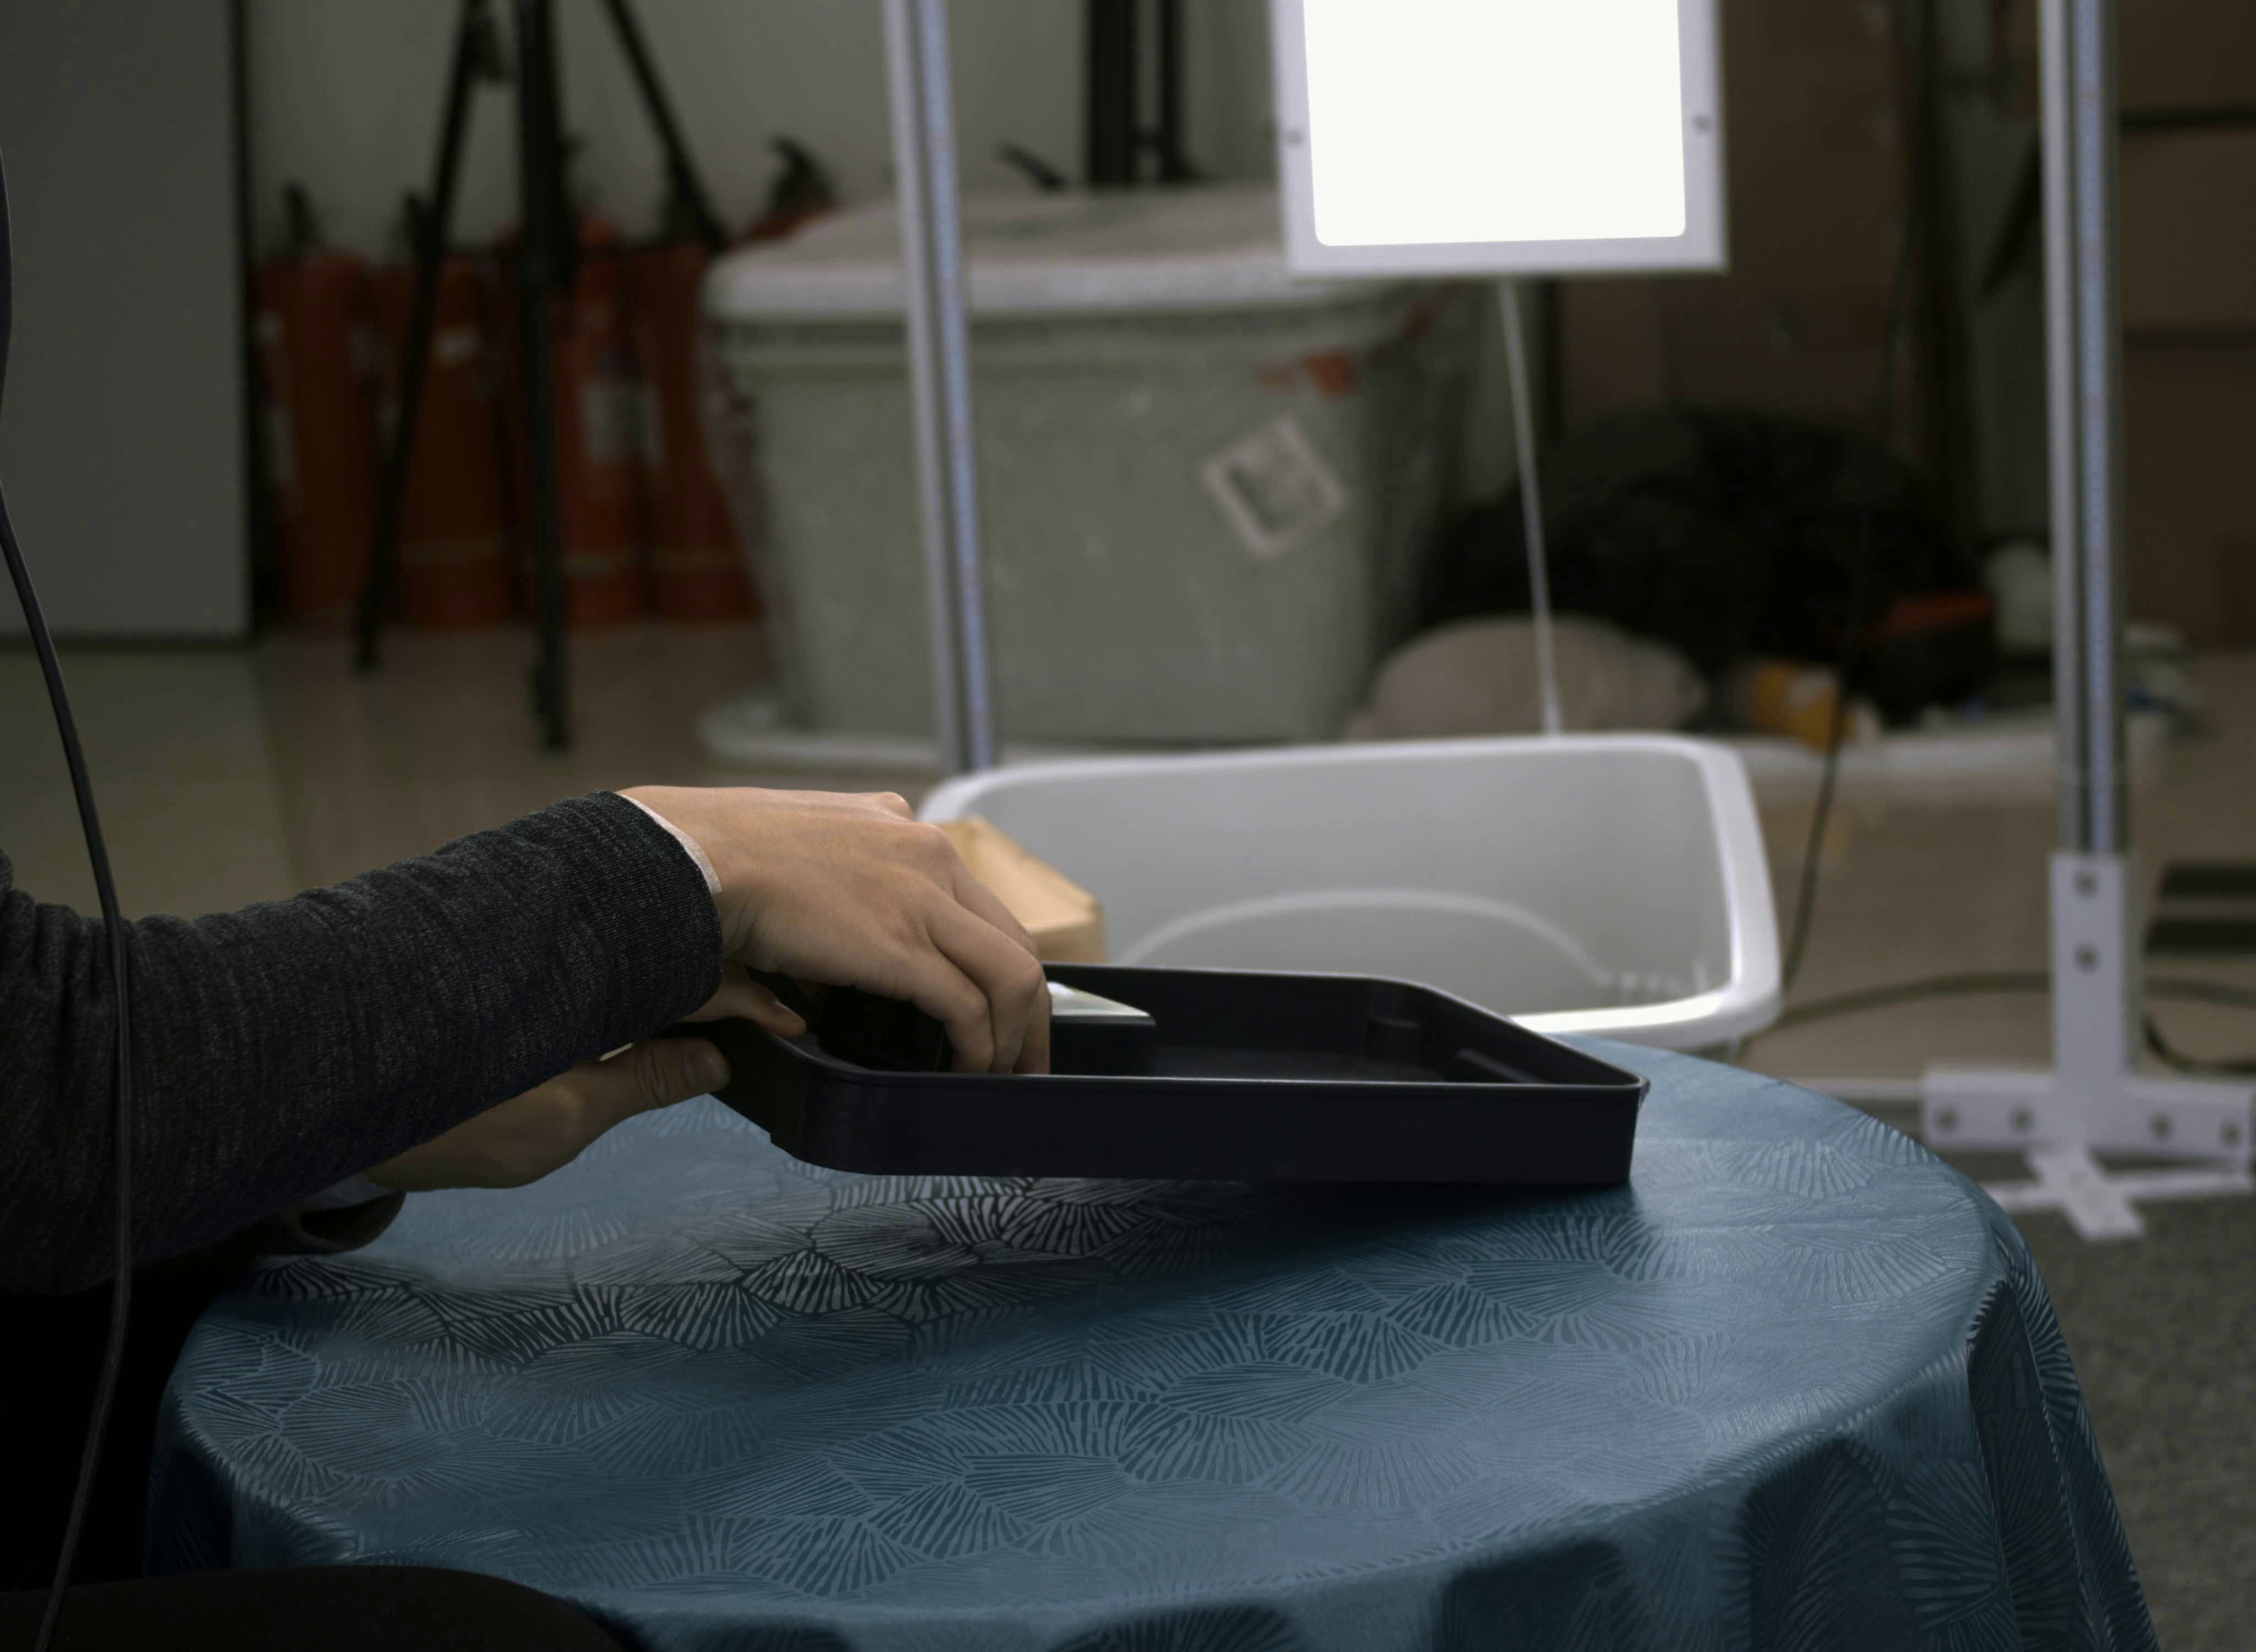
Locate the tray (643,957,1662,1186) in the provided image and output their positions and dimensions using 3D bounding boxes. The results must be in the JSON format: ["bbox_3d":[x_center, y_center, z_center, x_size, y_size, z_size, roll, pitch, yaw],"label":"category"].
[{"bbox_3d":[0.007,0.083,1.869,0.311,0.037,0.187,2,10,-27],"label":"tray"}]

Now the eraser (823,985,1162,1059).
[{"bbox_3d":[-0.045,0.072,1.846,0.054,0.030,0.122,14,6,36],"label":"eraser"}]
